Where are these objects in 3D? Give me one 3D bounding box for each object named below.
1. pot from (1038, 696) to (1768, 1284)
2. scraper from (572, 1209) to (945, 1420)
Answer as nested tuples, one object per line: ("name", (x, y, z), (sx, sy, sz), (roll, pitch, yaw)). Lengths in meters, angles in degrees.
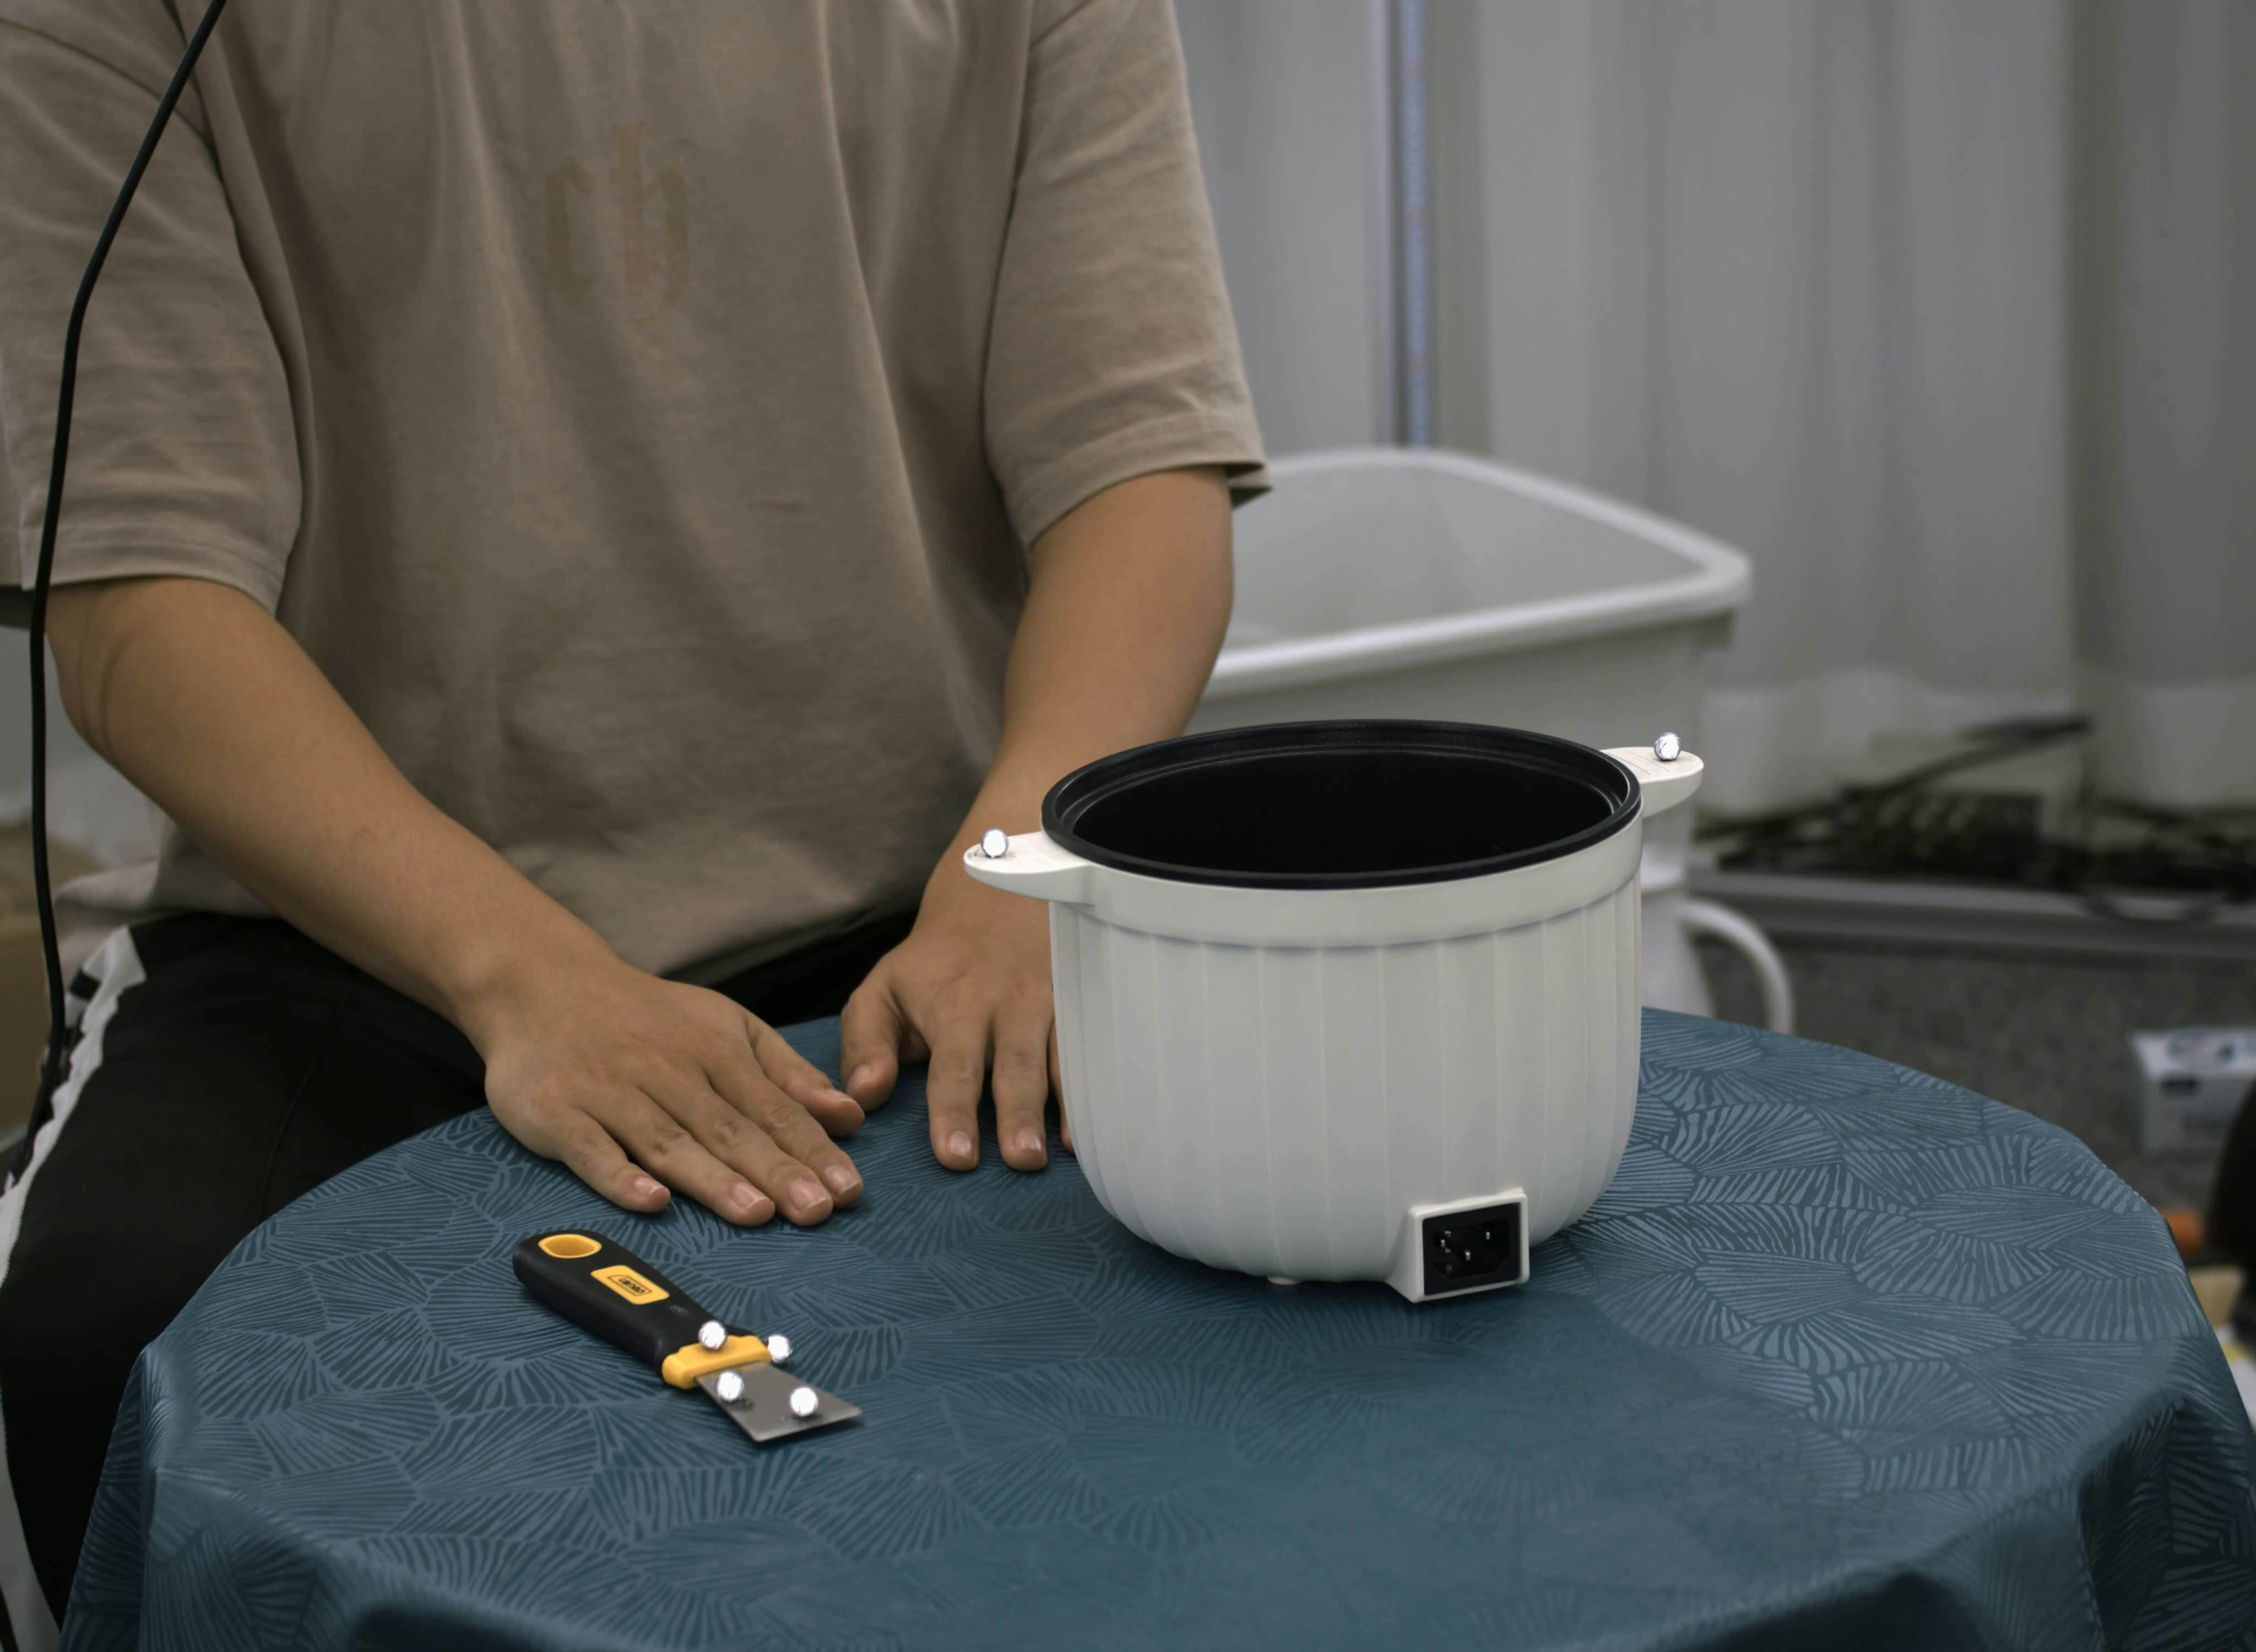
("pot", (0.084, 0.047, 1.669), (0.239, 0.142, 0.192), (-7, 19, -21))
("scraper", (-0.113, 0.141, 1.588), (0.039, 0.015, 0.172), (-17, 22, -30))
